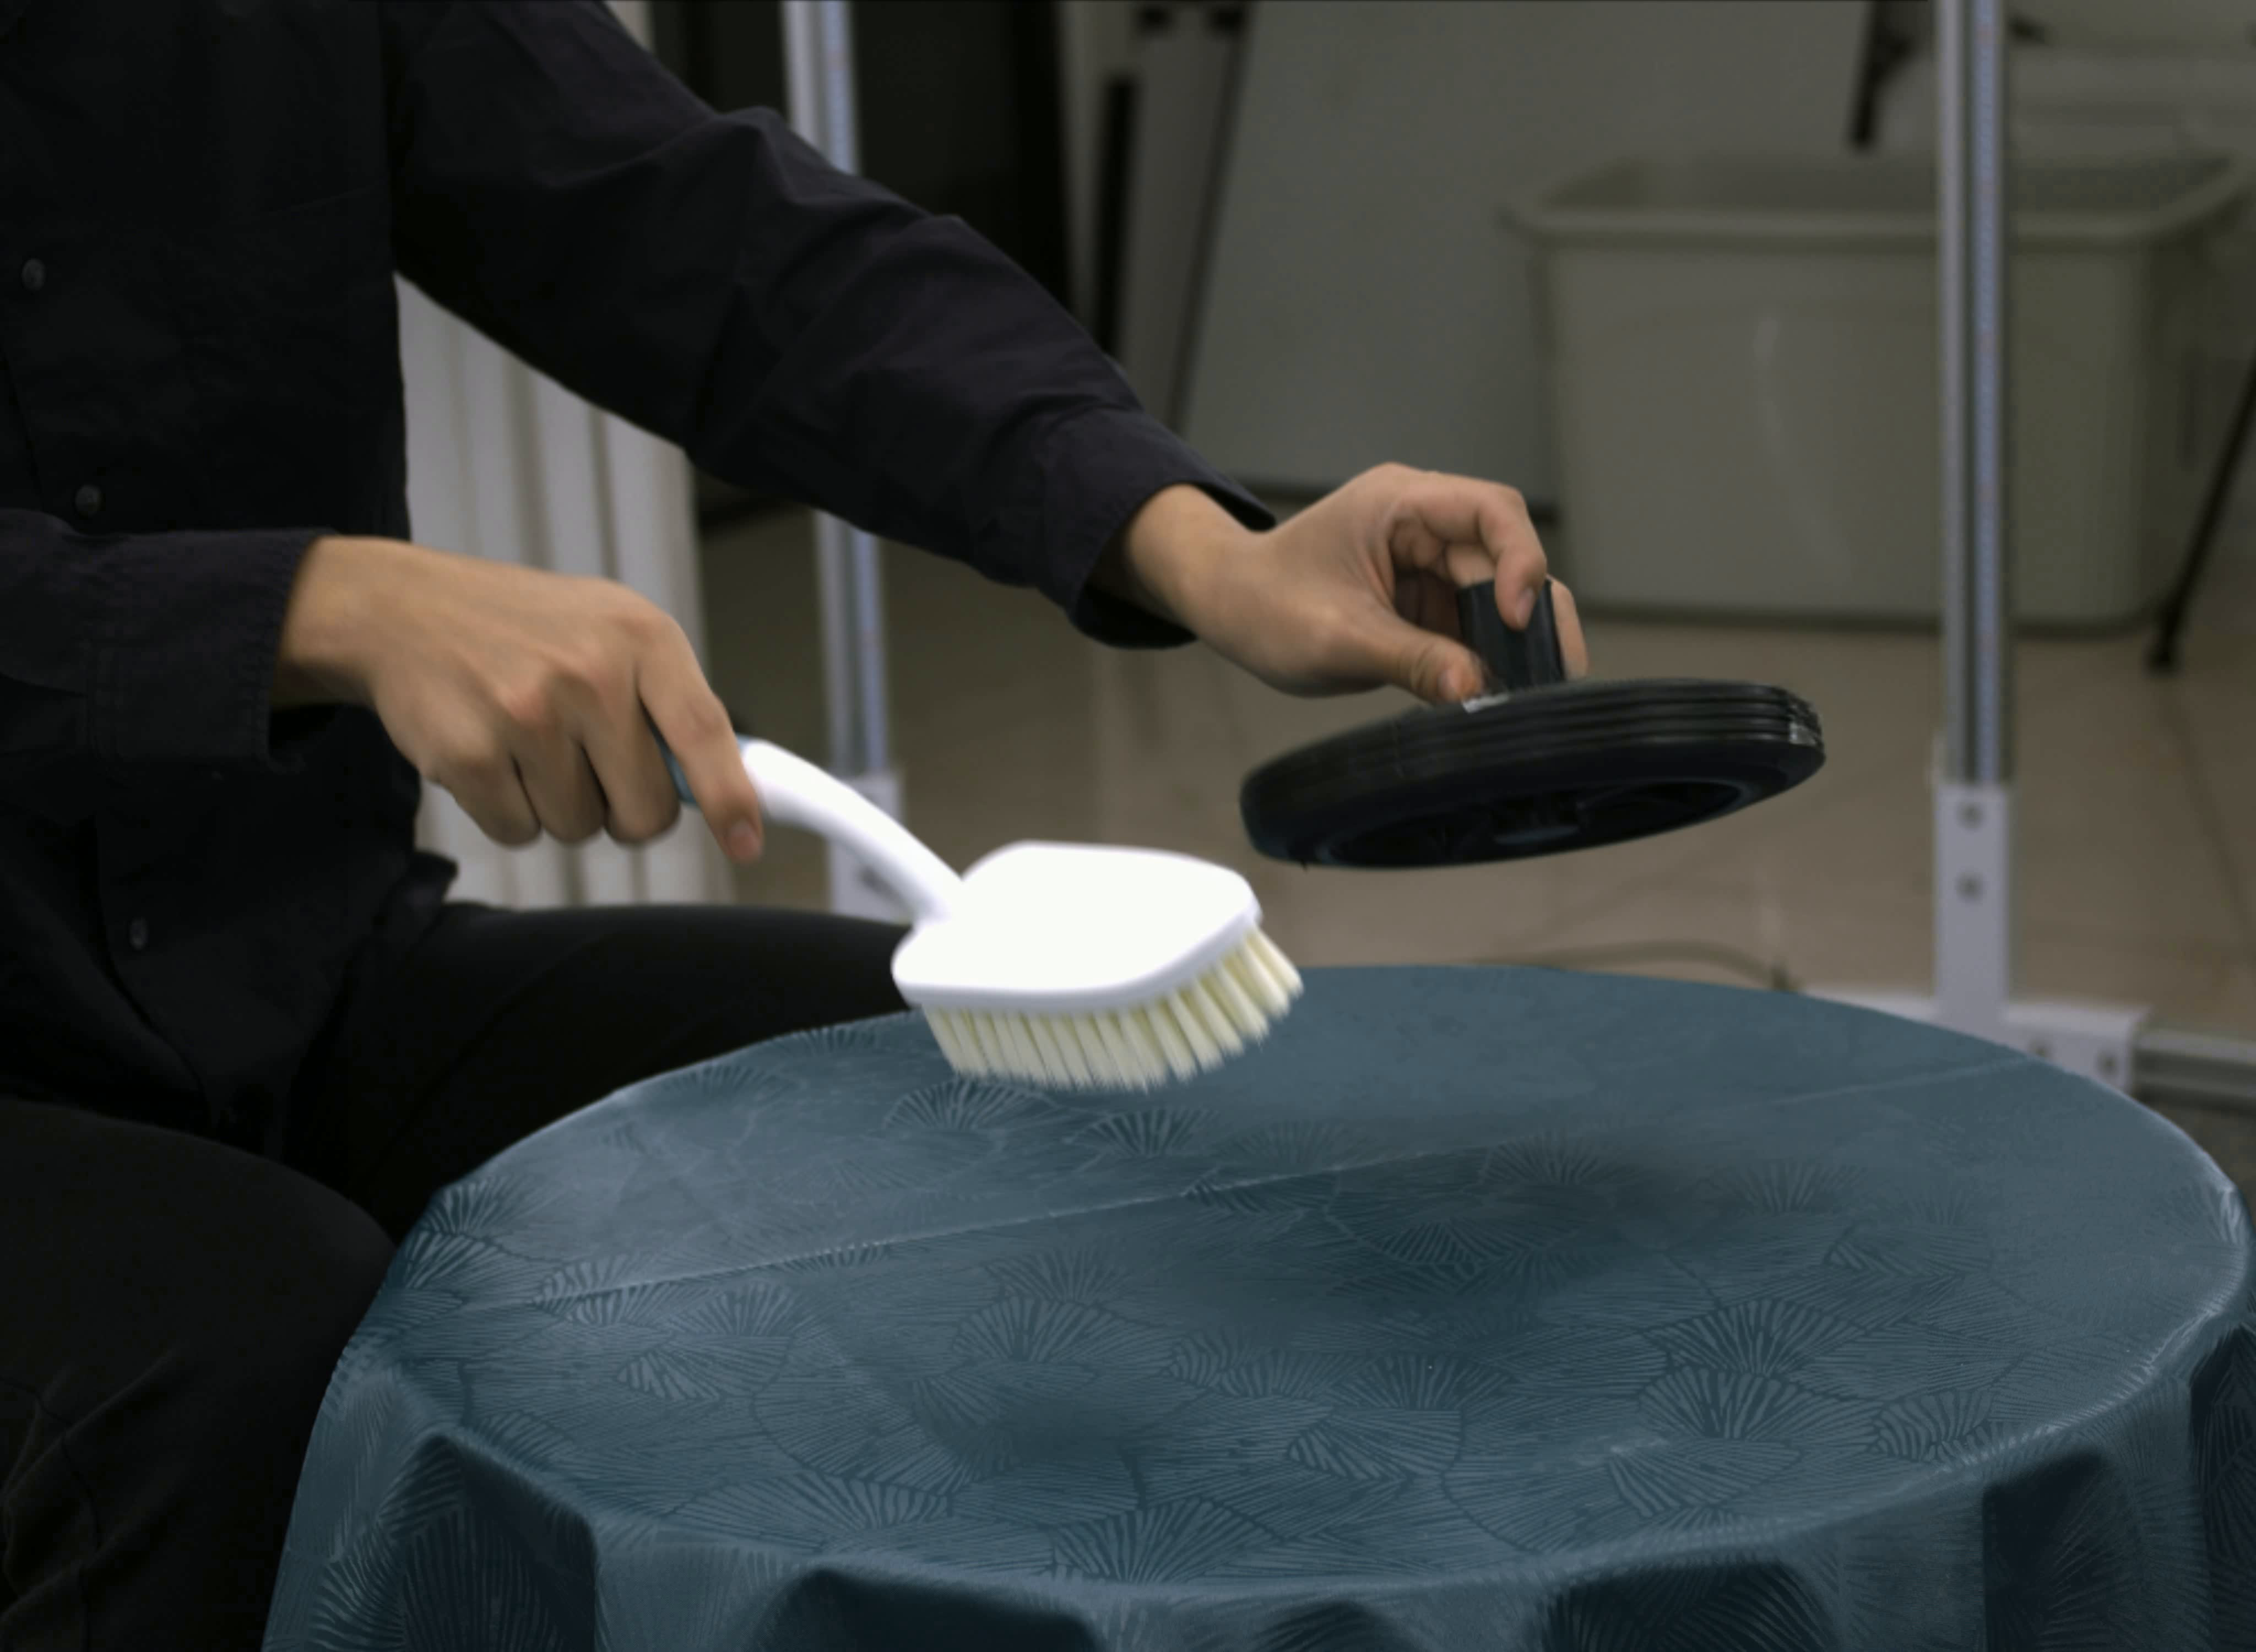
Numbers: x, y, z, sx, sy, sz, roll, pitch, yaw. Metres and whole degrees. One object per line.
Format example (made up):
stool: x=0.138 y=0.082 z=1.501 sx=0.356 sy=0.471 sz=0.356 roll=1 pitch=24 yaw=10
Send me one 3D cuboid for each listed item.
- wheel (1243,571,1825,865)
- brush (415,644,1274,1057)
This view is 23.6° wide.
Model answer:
wheel: x=0.127 y=-0.039 z=1.732 sx=0.187 sy=0.080 sz=0.187 roll=-8 pitch=-10 yaw=-2
brush: x=-0.086 y=0.012 z=1.639 sx=0.328 sy=0.085 sz=0.081 roll=14 pitch=10 yaw=37
